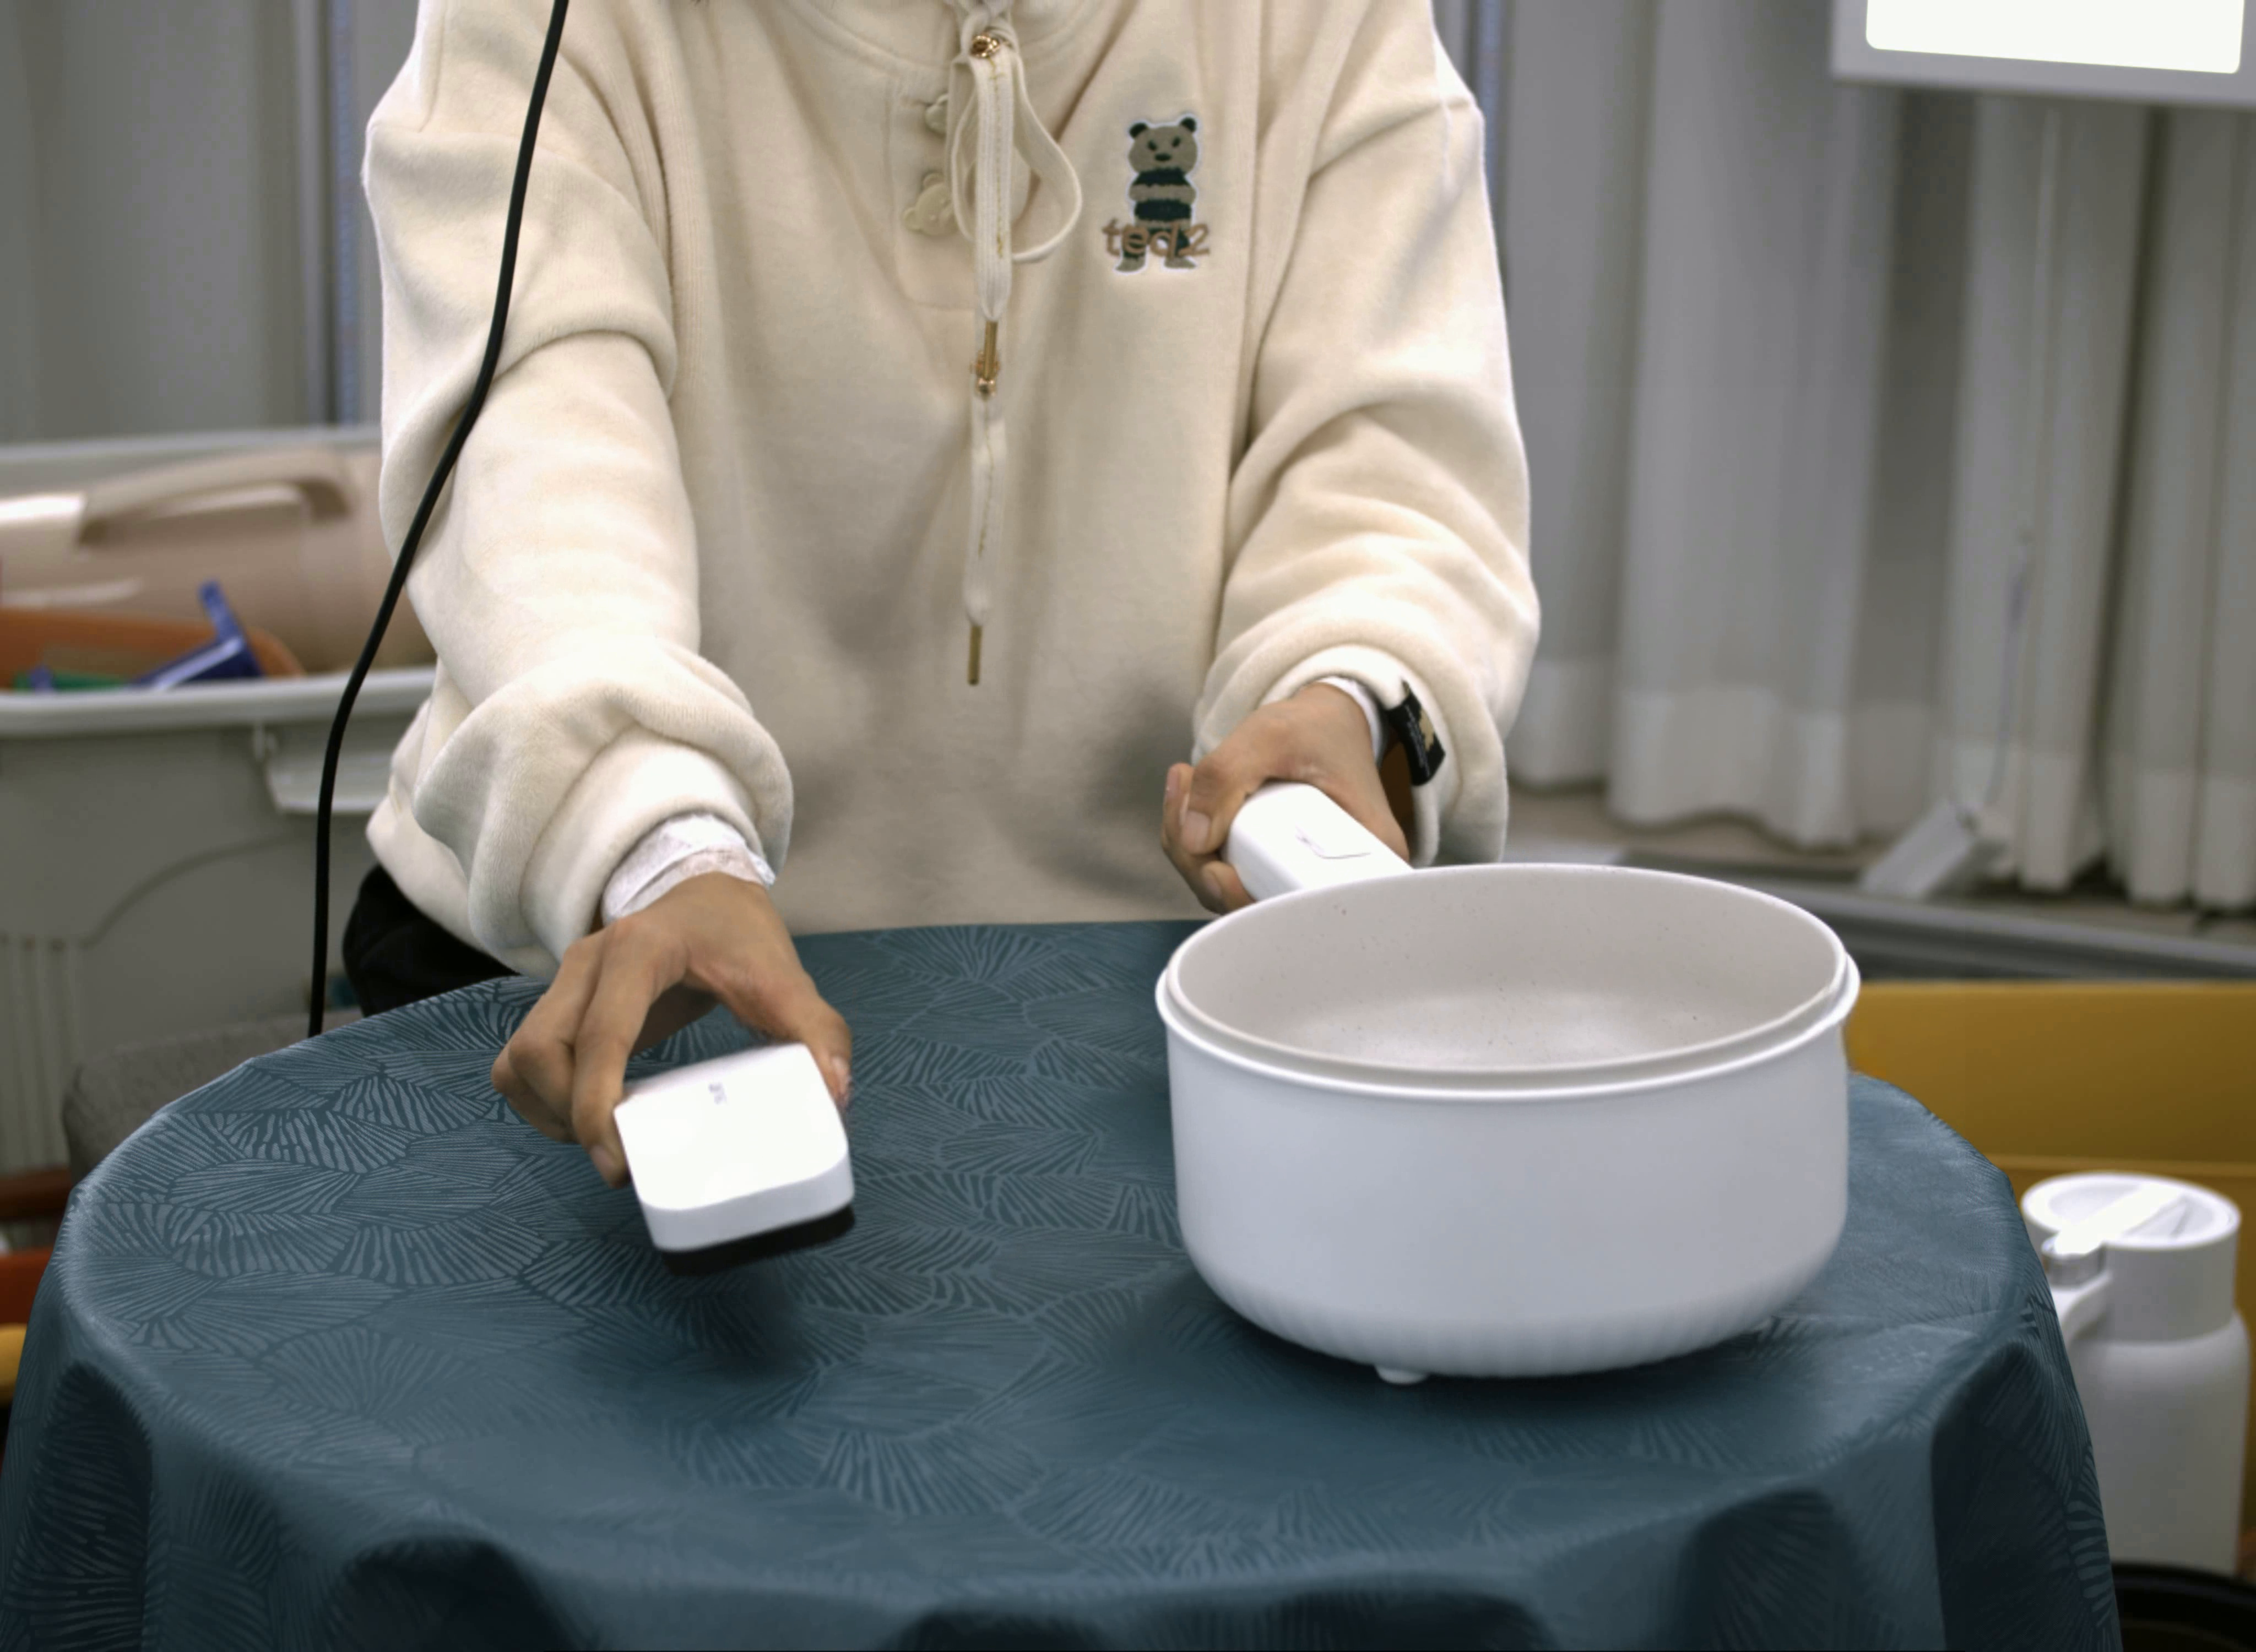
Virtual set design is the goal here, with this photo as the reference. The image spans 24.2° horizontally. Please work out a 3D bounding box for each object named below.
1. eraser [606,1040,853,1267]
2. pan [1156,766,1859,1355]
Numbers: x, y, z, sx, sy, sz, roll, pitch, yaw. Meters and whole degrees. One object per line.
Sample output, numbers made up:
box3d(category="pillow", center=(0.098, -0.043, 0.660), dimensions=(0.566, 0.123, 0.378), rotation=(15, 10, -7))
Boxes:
box3d(category="eraser", center=(-0.113, 0.089, 1.508), dimensions=(0.063, 0.035, 0.130), rotation=(-12, 15, -7))
box3d(category="pan", center=(0.088, 0.065, 1.586), dimensions=(0.201, 0.103, 0.351), rotation=(-4, 14, -16))
